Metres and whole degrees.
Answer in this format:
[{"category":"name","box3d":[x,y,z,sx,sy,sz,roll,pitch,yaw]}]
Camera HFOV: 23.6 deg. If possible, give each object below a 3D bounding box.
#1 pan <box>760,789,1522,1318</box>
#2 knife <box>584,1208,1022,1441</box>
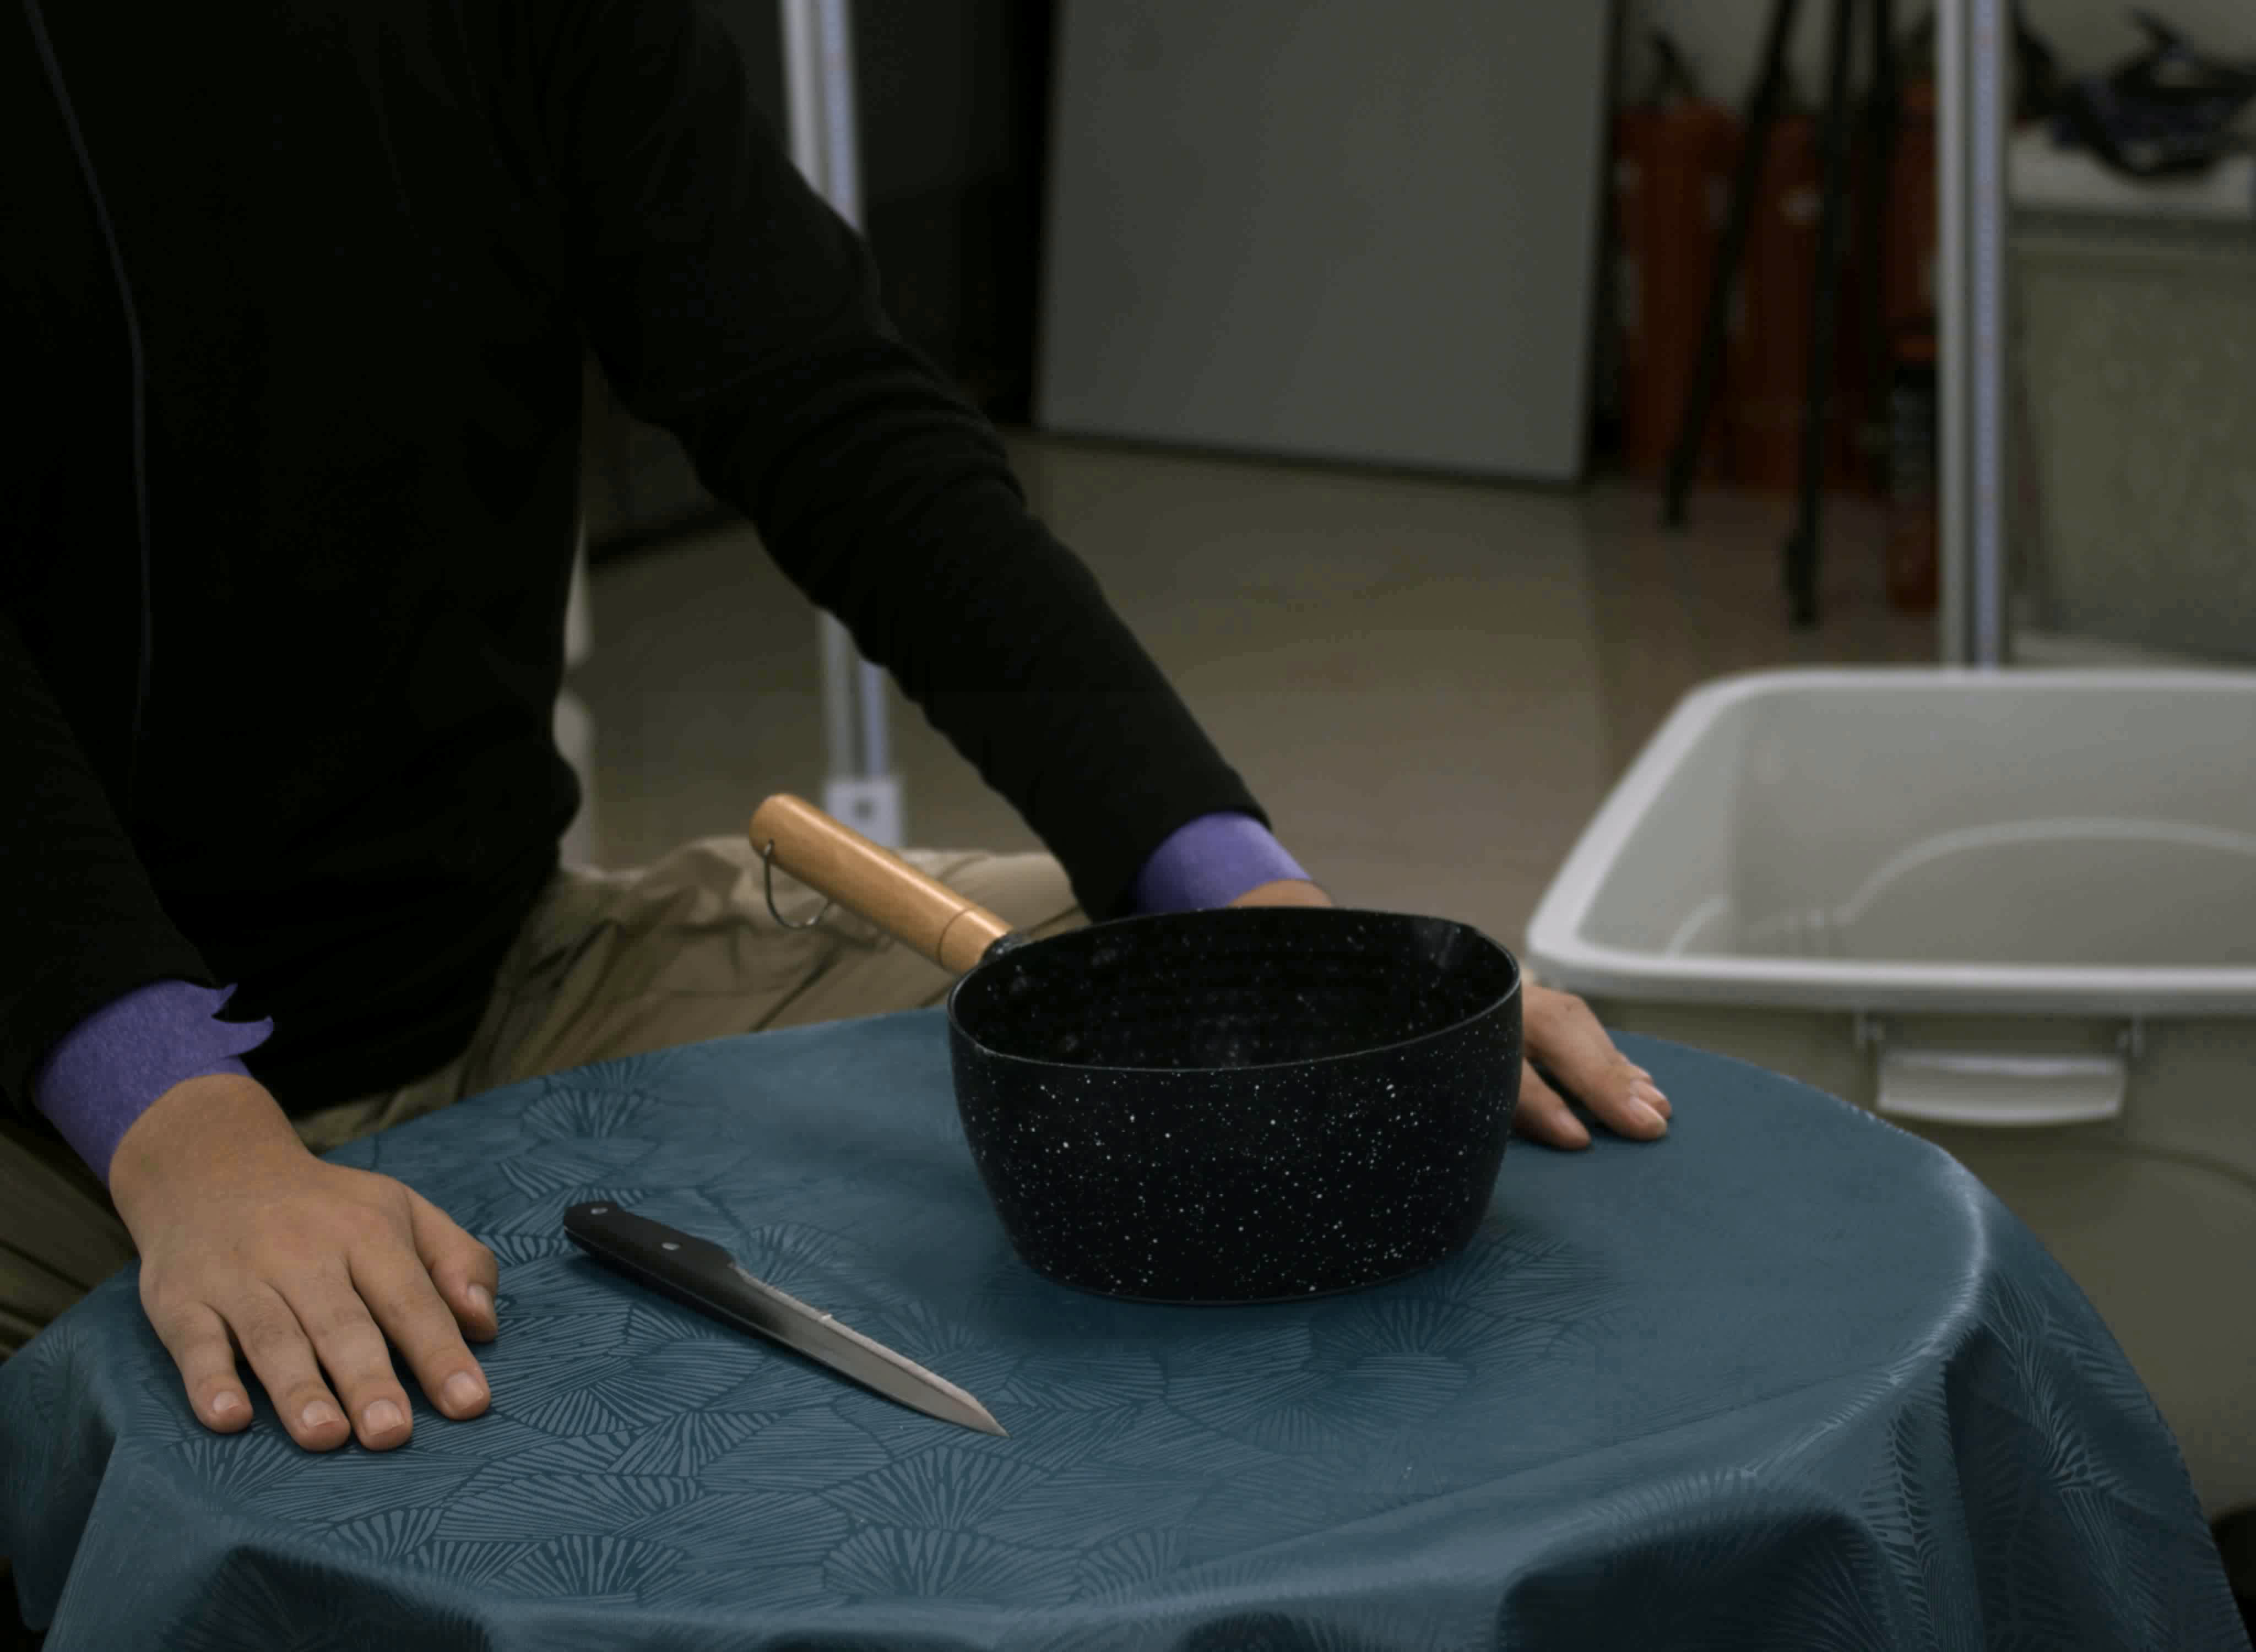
[{"category":"pan","box3d":[-0.016,0.068,1.773,0.203,0.109,0.346,-15,19,-37]},{"category":"knife","box3d":[-0.103,0.154,1.653,0.024,0.016,0.241,-12,19,-34]}]
